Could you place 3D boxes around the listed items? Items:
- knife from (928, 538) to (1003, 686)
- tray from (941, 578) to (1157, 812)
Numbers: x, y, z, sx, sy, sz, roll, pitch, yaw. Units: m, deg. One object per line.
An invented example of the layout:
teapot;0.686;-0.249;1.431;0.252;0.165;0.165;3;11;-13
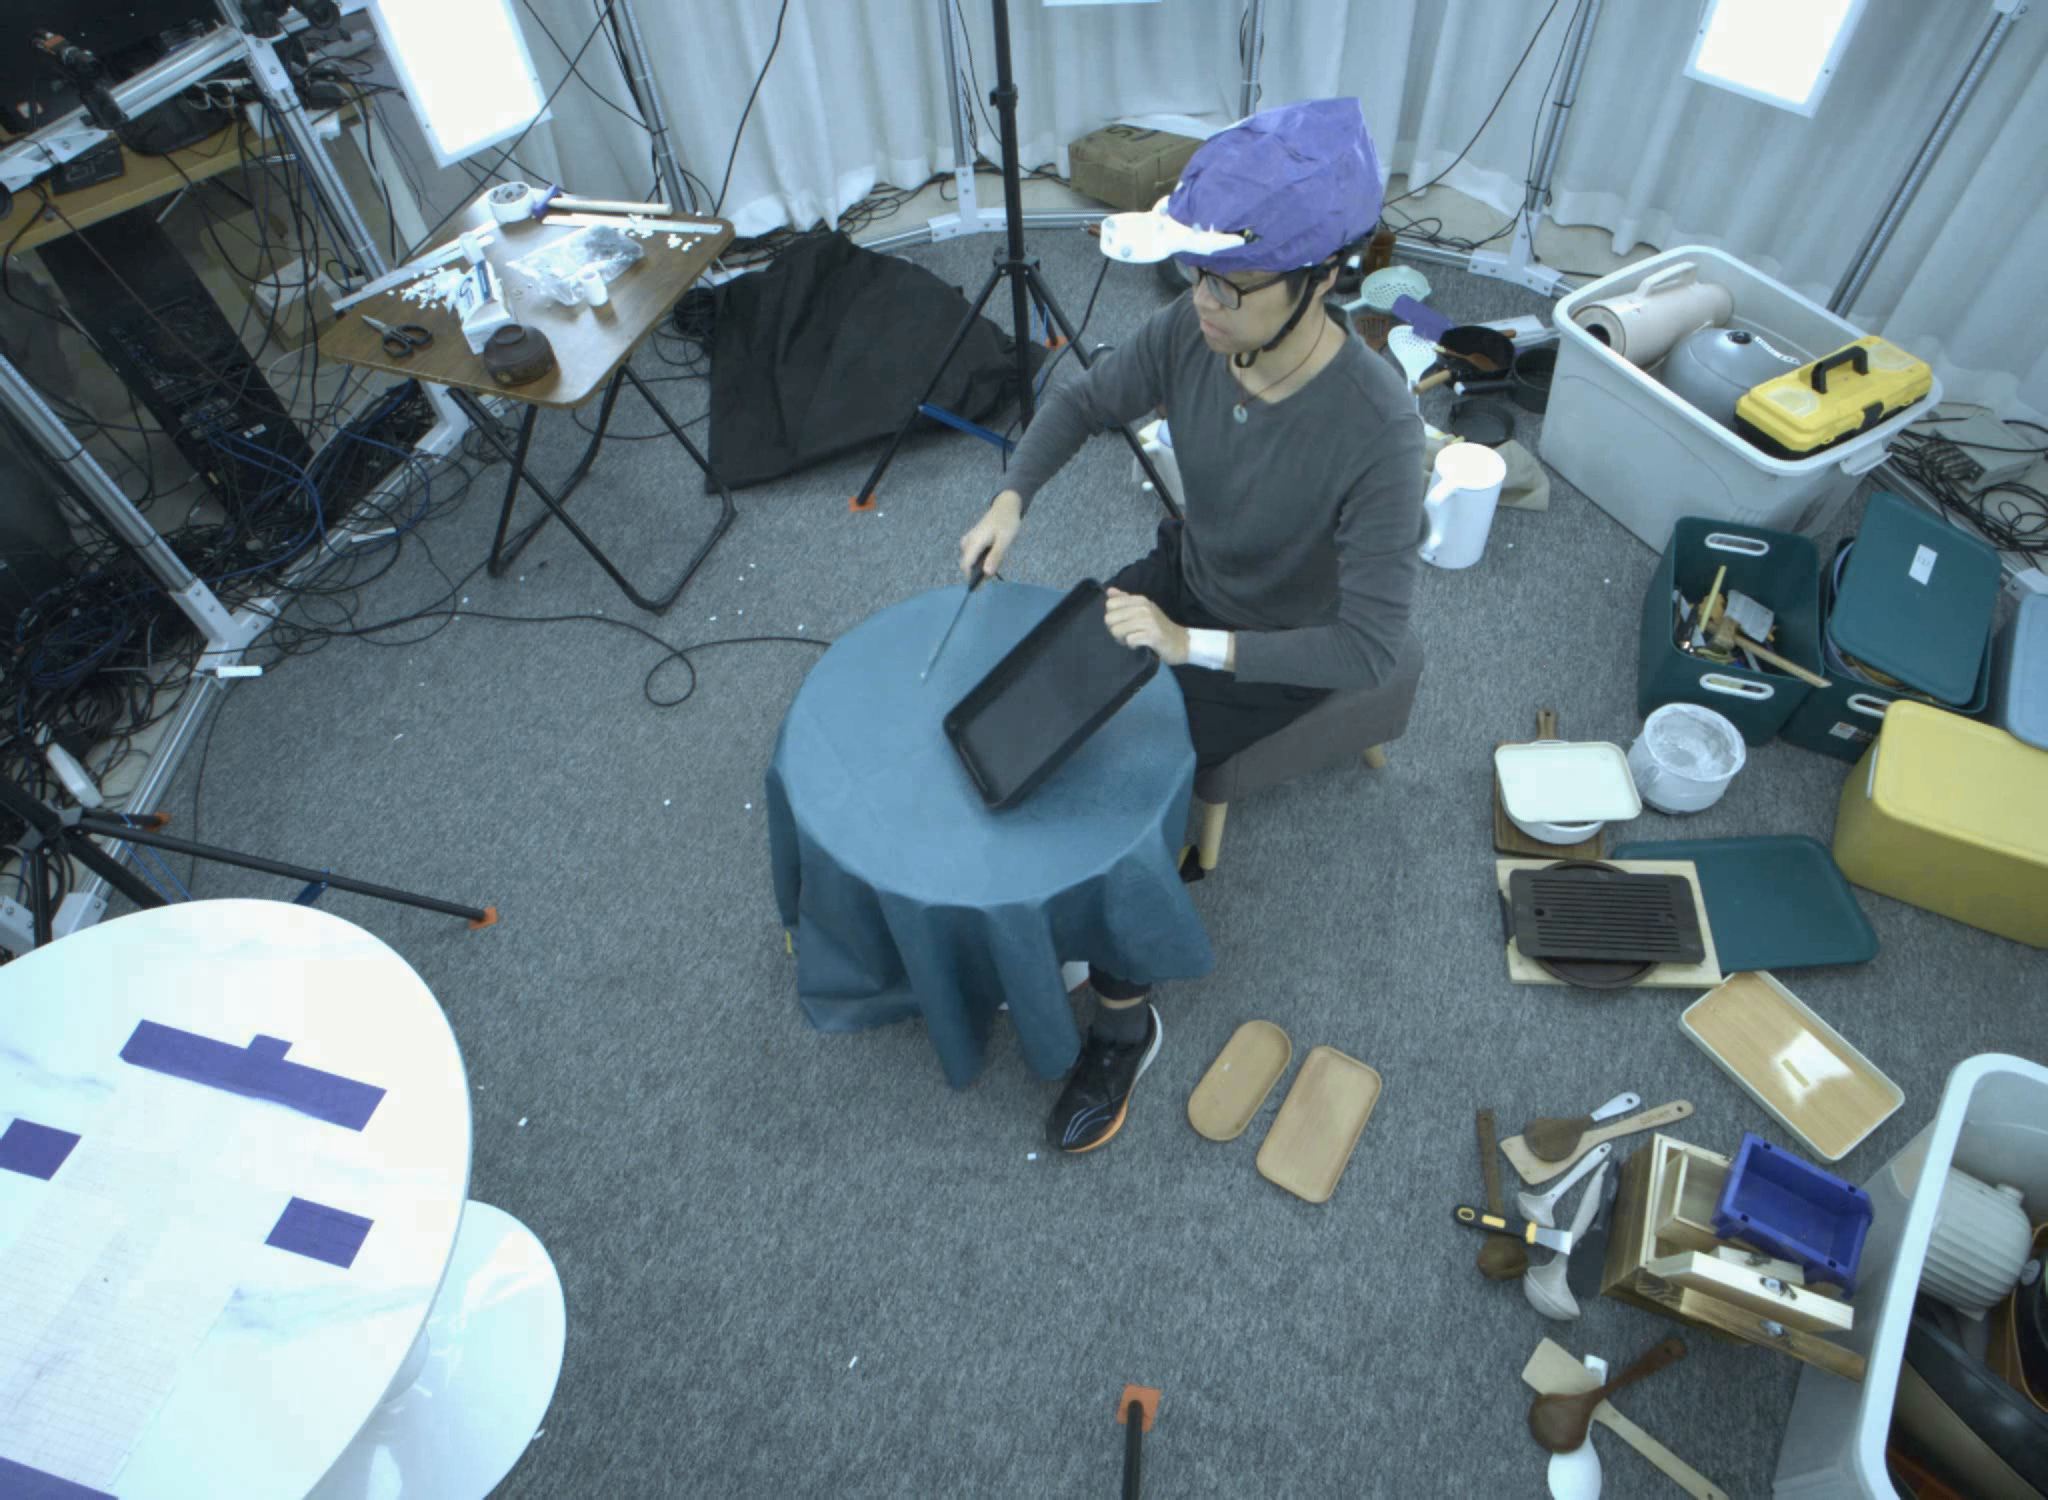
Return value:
knife;-0.081;-0.203;1.719;0.021;0.081;0.301;21;49;0
tray;0.030;-0.075;1.719;0.316;0.038;0.181;-44;55;16
